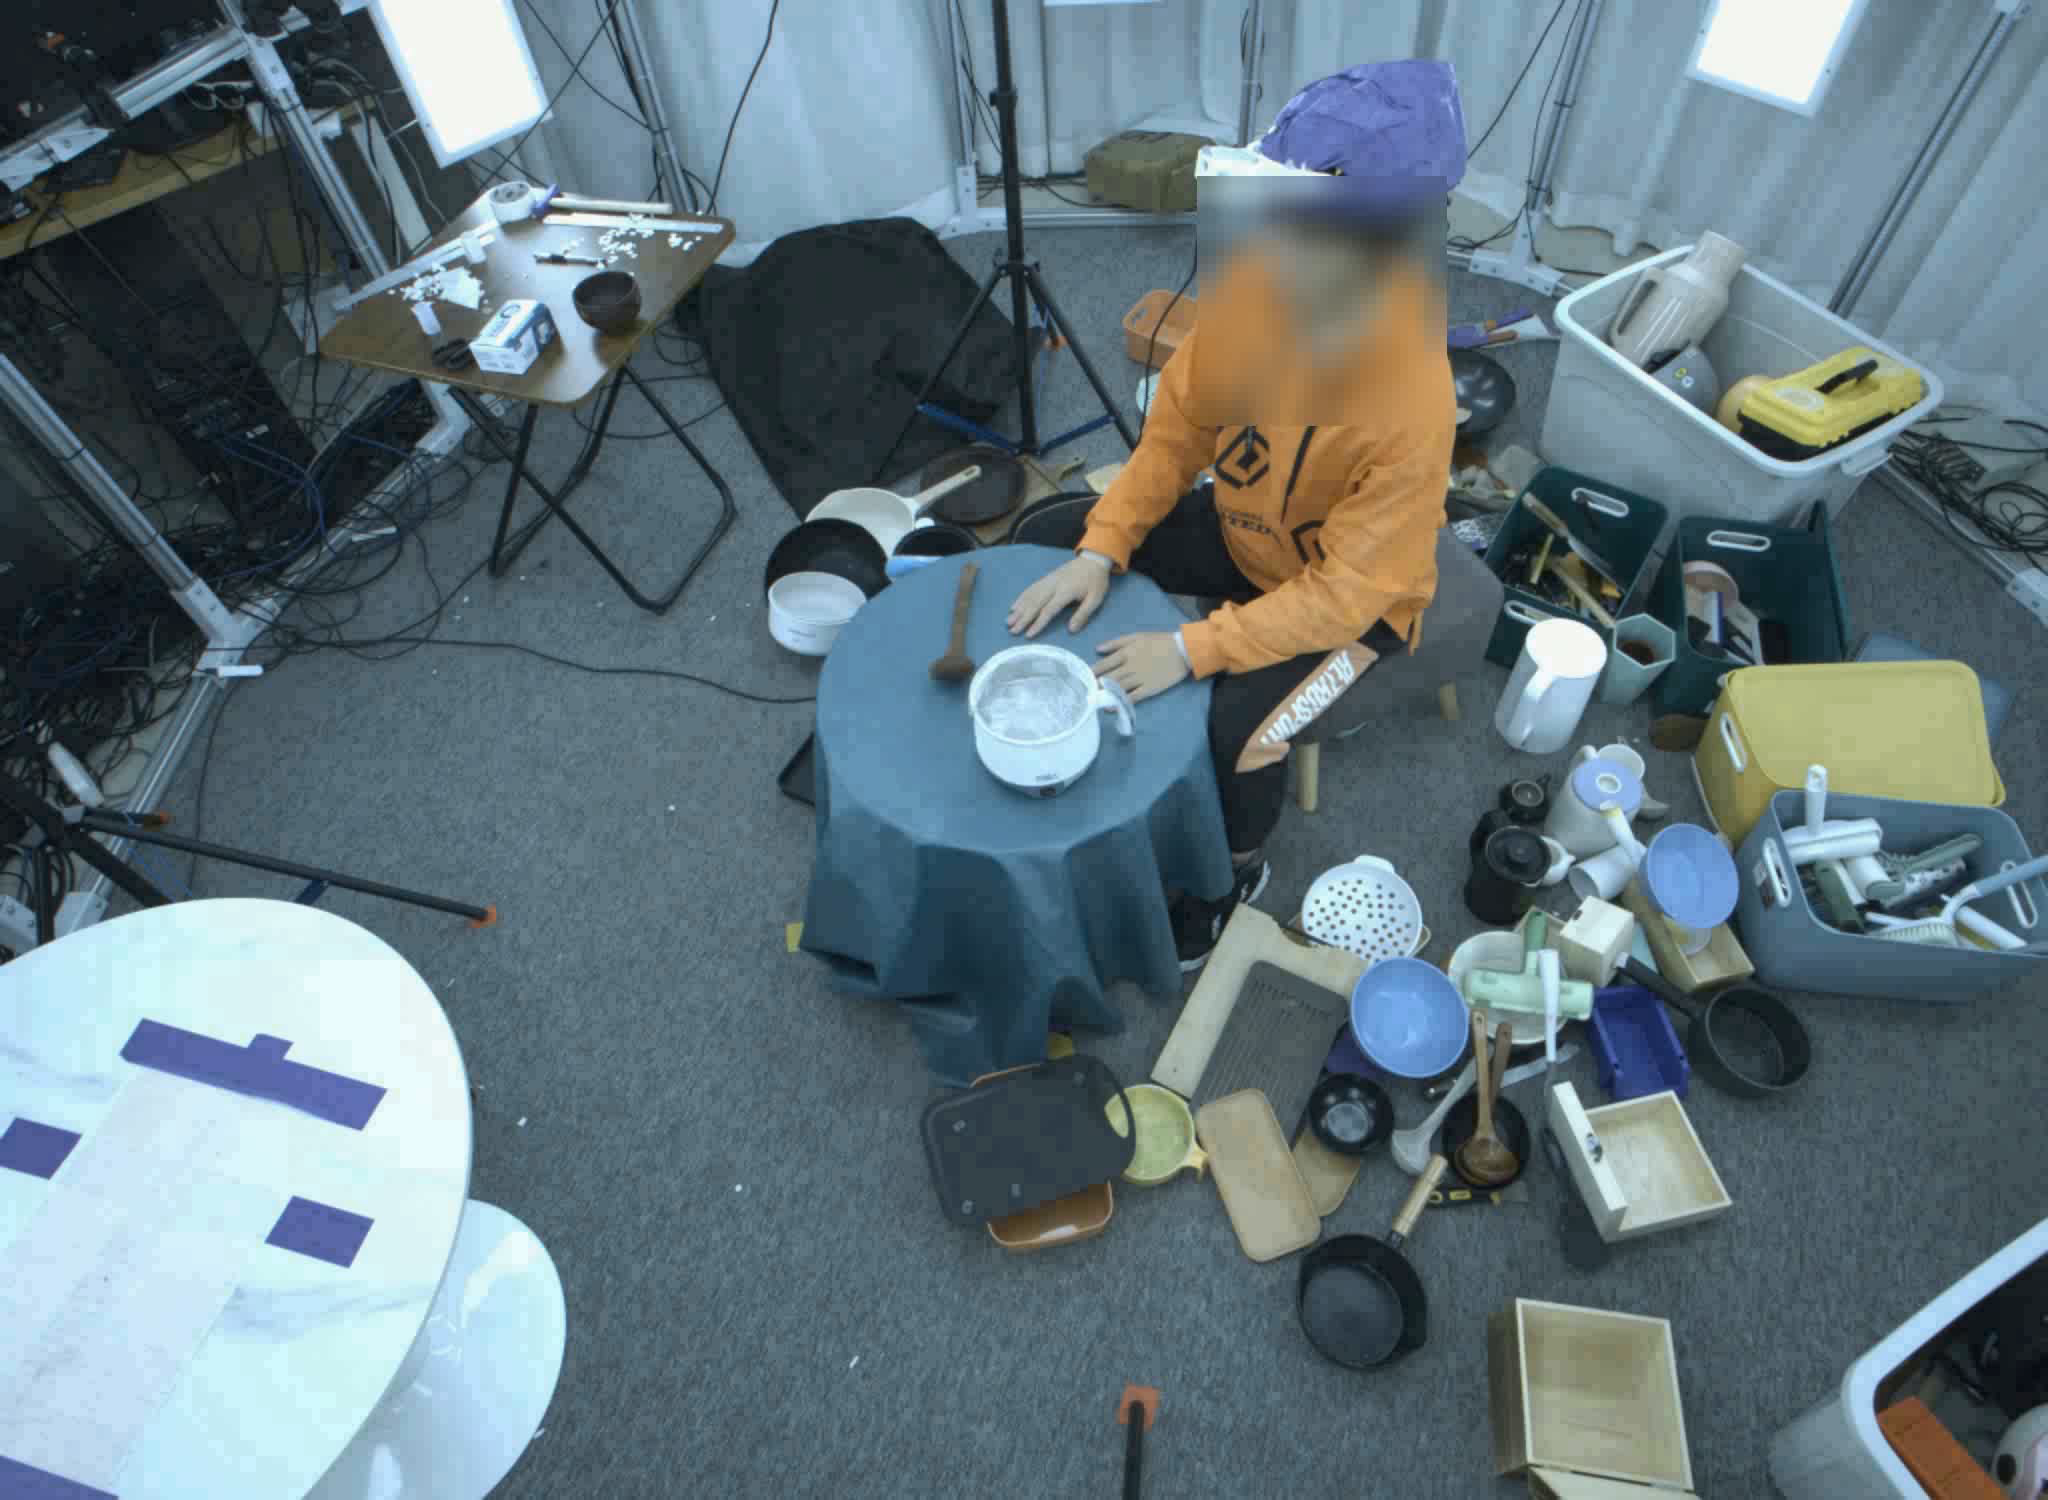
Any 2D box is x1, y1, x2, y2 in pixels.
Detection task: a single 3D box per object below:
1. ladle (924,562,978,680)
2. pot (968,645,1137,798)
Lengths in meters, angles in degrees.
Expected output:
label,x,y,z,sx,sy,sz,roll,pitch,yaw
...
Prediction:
label,x,y,z,sx,sy,sz,roll,pitch,yaw
ladle,-0.102,-0.214,1.899,0.076,0.072,0.272,6,56,2
pot,0.043,-0.045,1.733,0.234,0.138,0.176,-10,55,-5
